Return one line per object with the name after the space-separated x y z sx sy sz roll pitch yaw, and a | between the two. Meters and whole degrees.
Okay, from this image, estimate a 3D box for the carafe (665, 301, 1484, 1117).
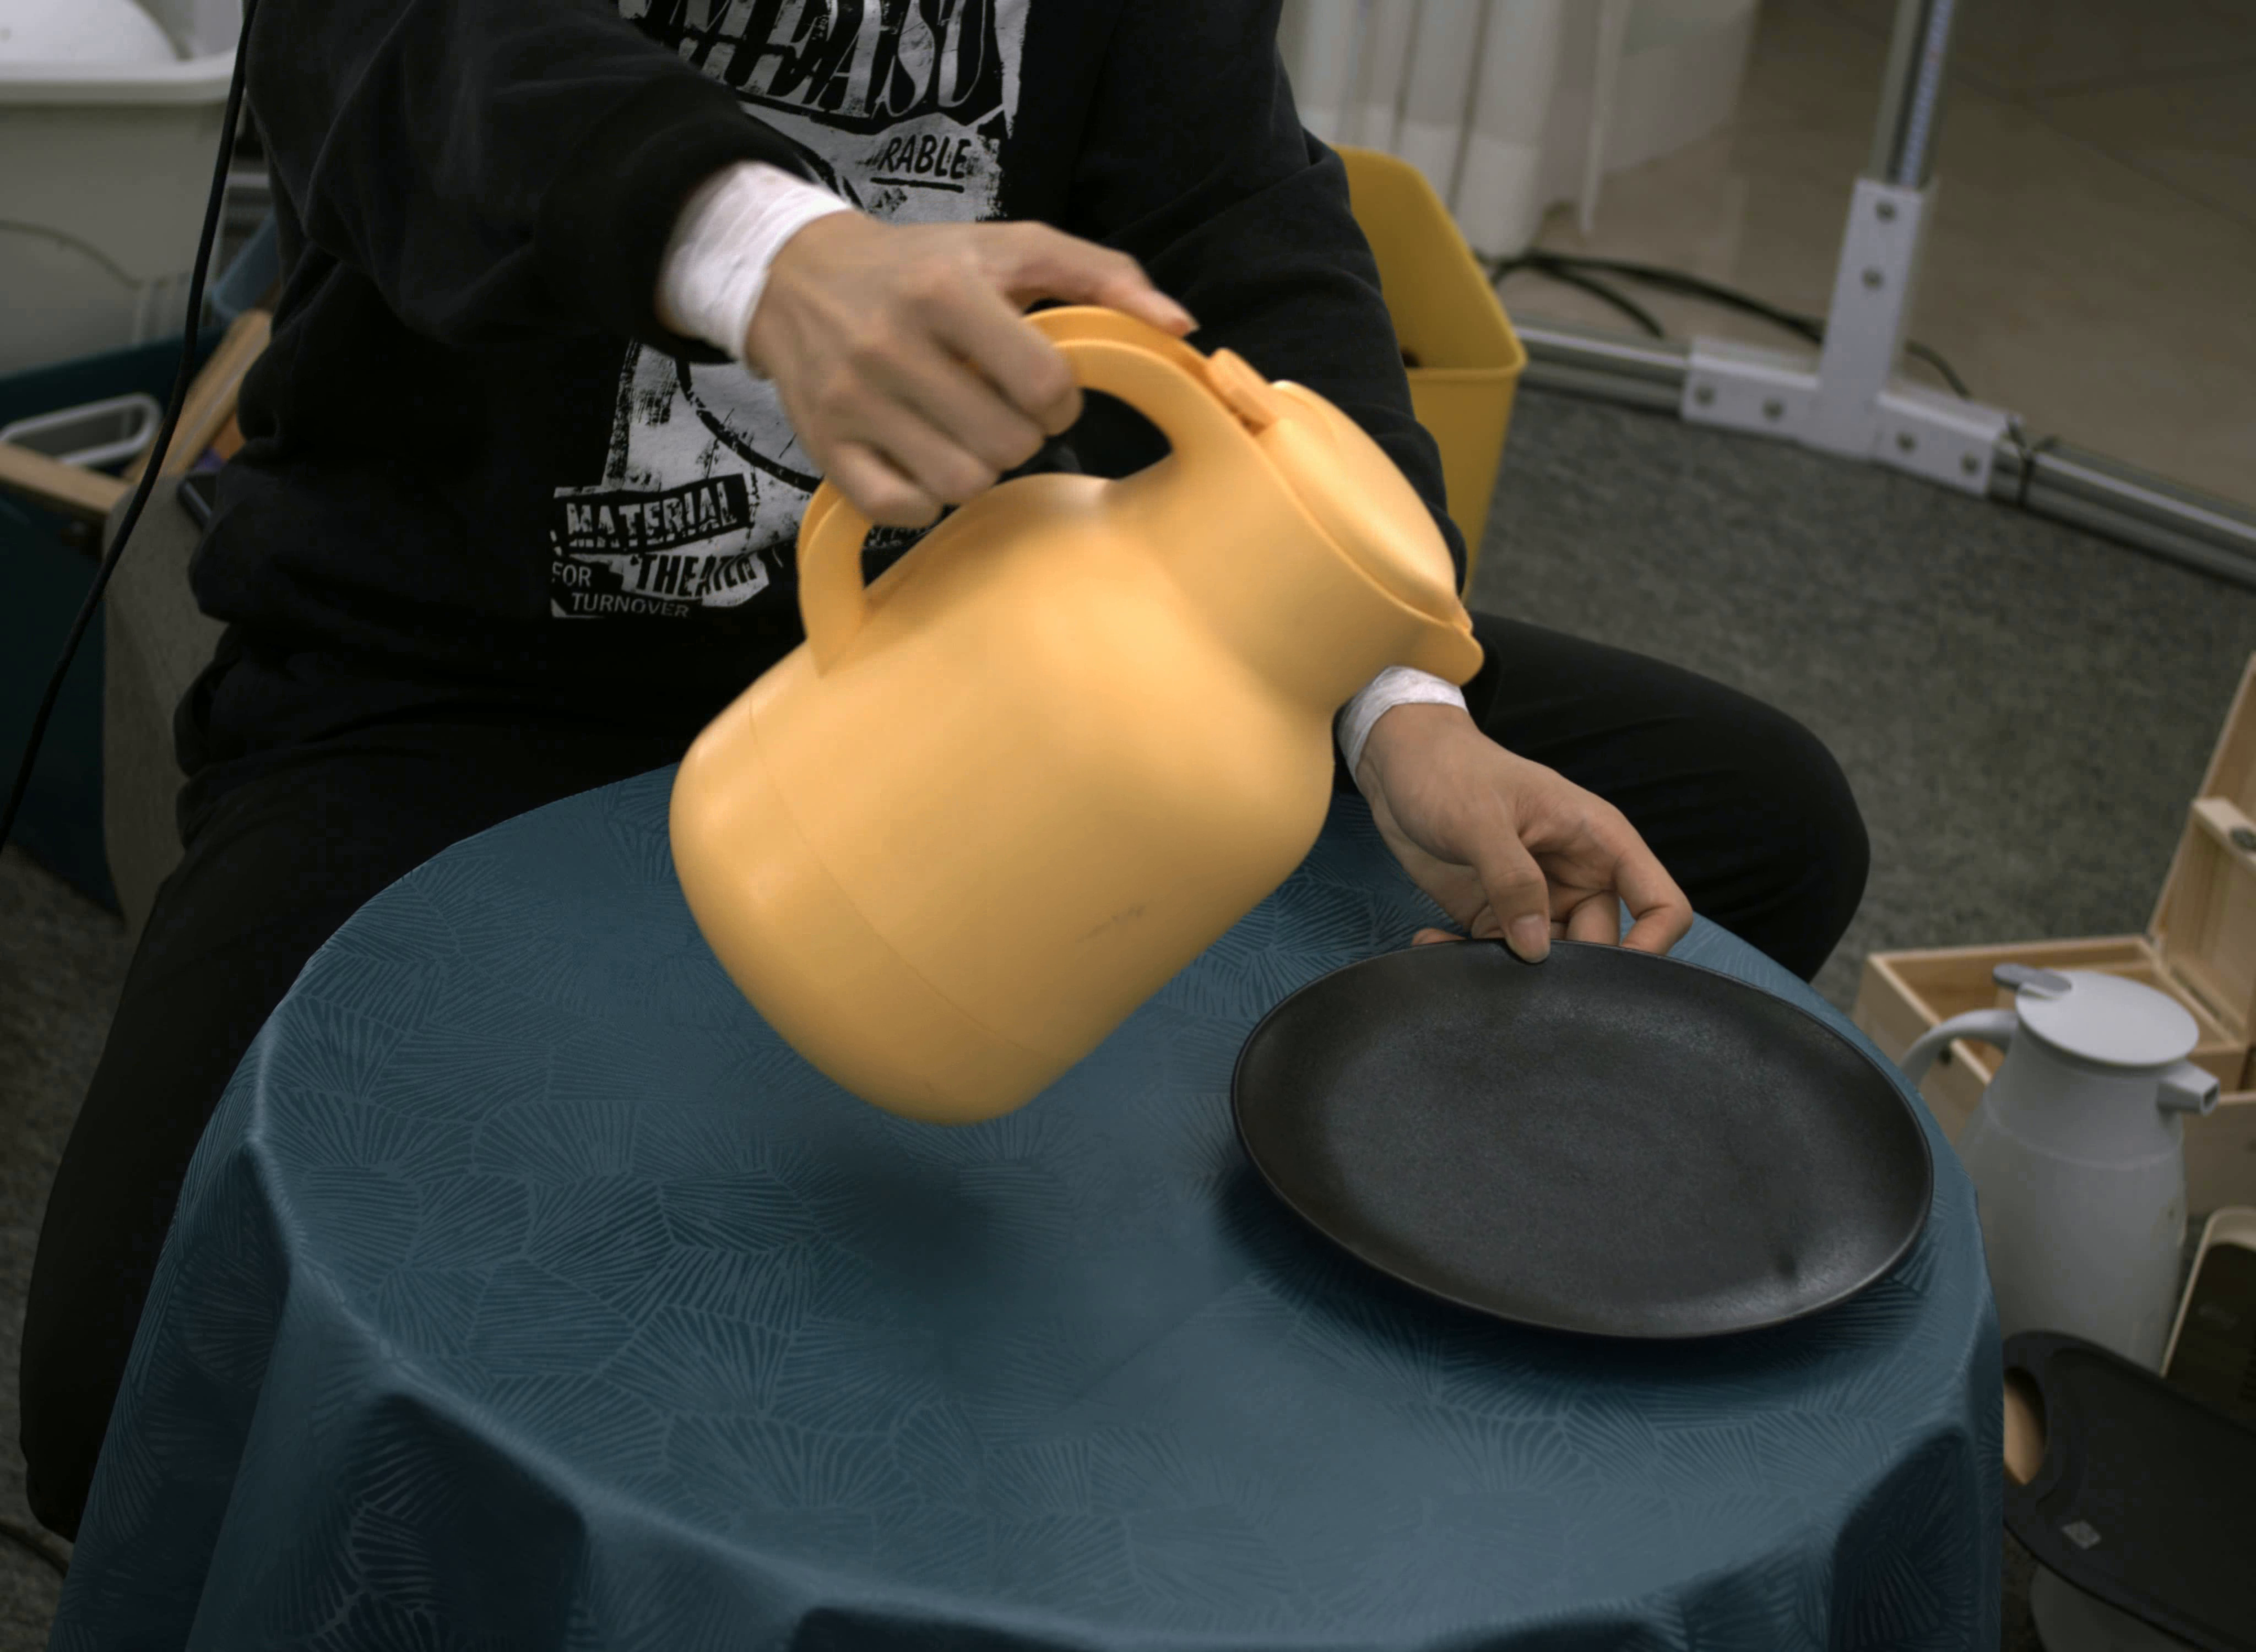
-0.028 -0.046 1.716 0.201 0.260 0.164 44 17 -22 | carafe

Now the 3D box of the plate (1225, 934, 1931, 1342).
0.154 0.111 1.826 0.243 0.023 0.246 5 30 -3 | plate
